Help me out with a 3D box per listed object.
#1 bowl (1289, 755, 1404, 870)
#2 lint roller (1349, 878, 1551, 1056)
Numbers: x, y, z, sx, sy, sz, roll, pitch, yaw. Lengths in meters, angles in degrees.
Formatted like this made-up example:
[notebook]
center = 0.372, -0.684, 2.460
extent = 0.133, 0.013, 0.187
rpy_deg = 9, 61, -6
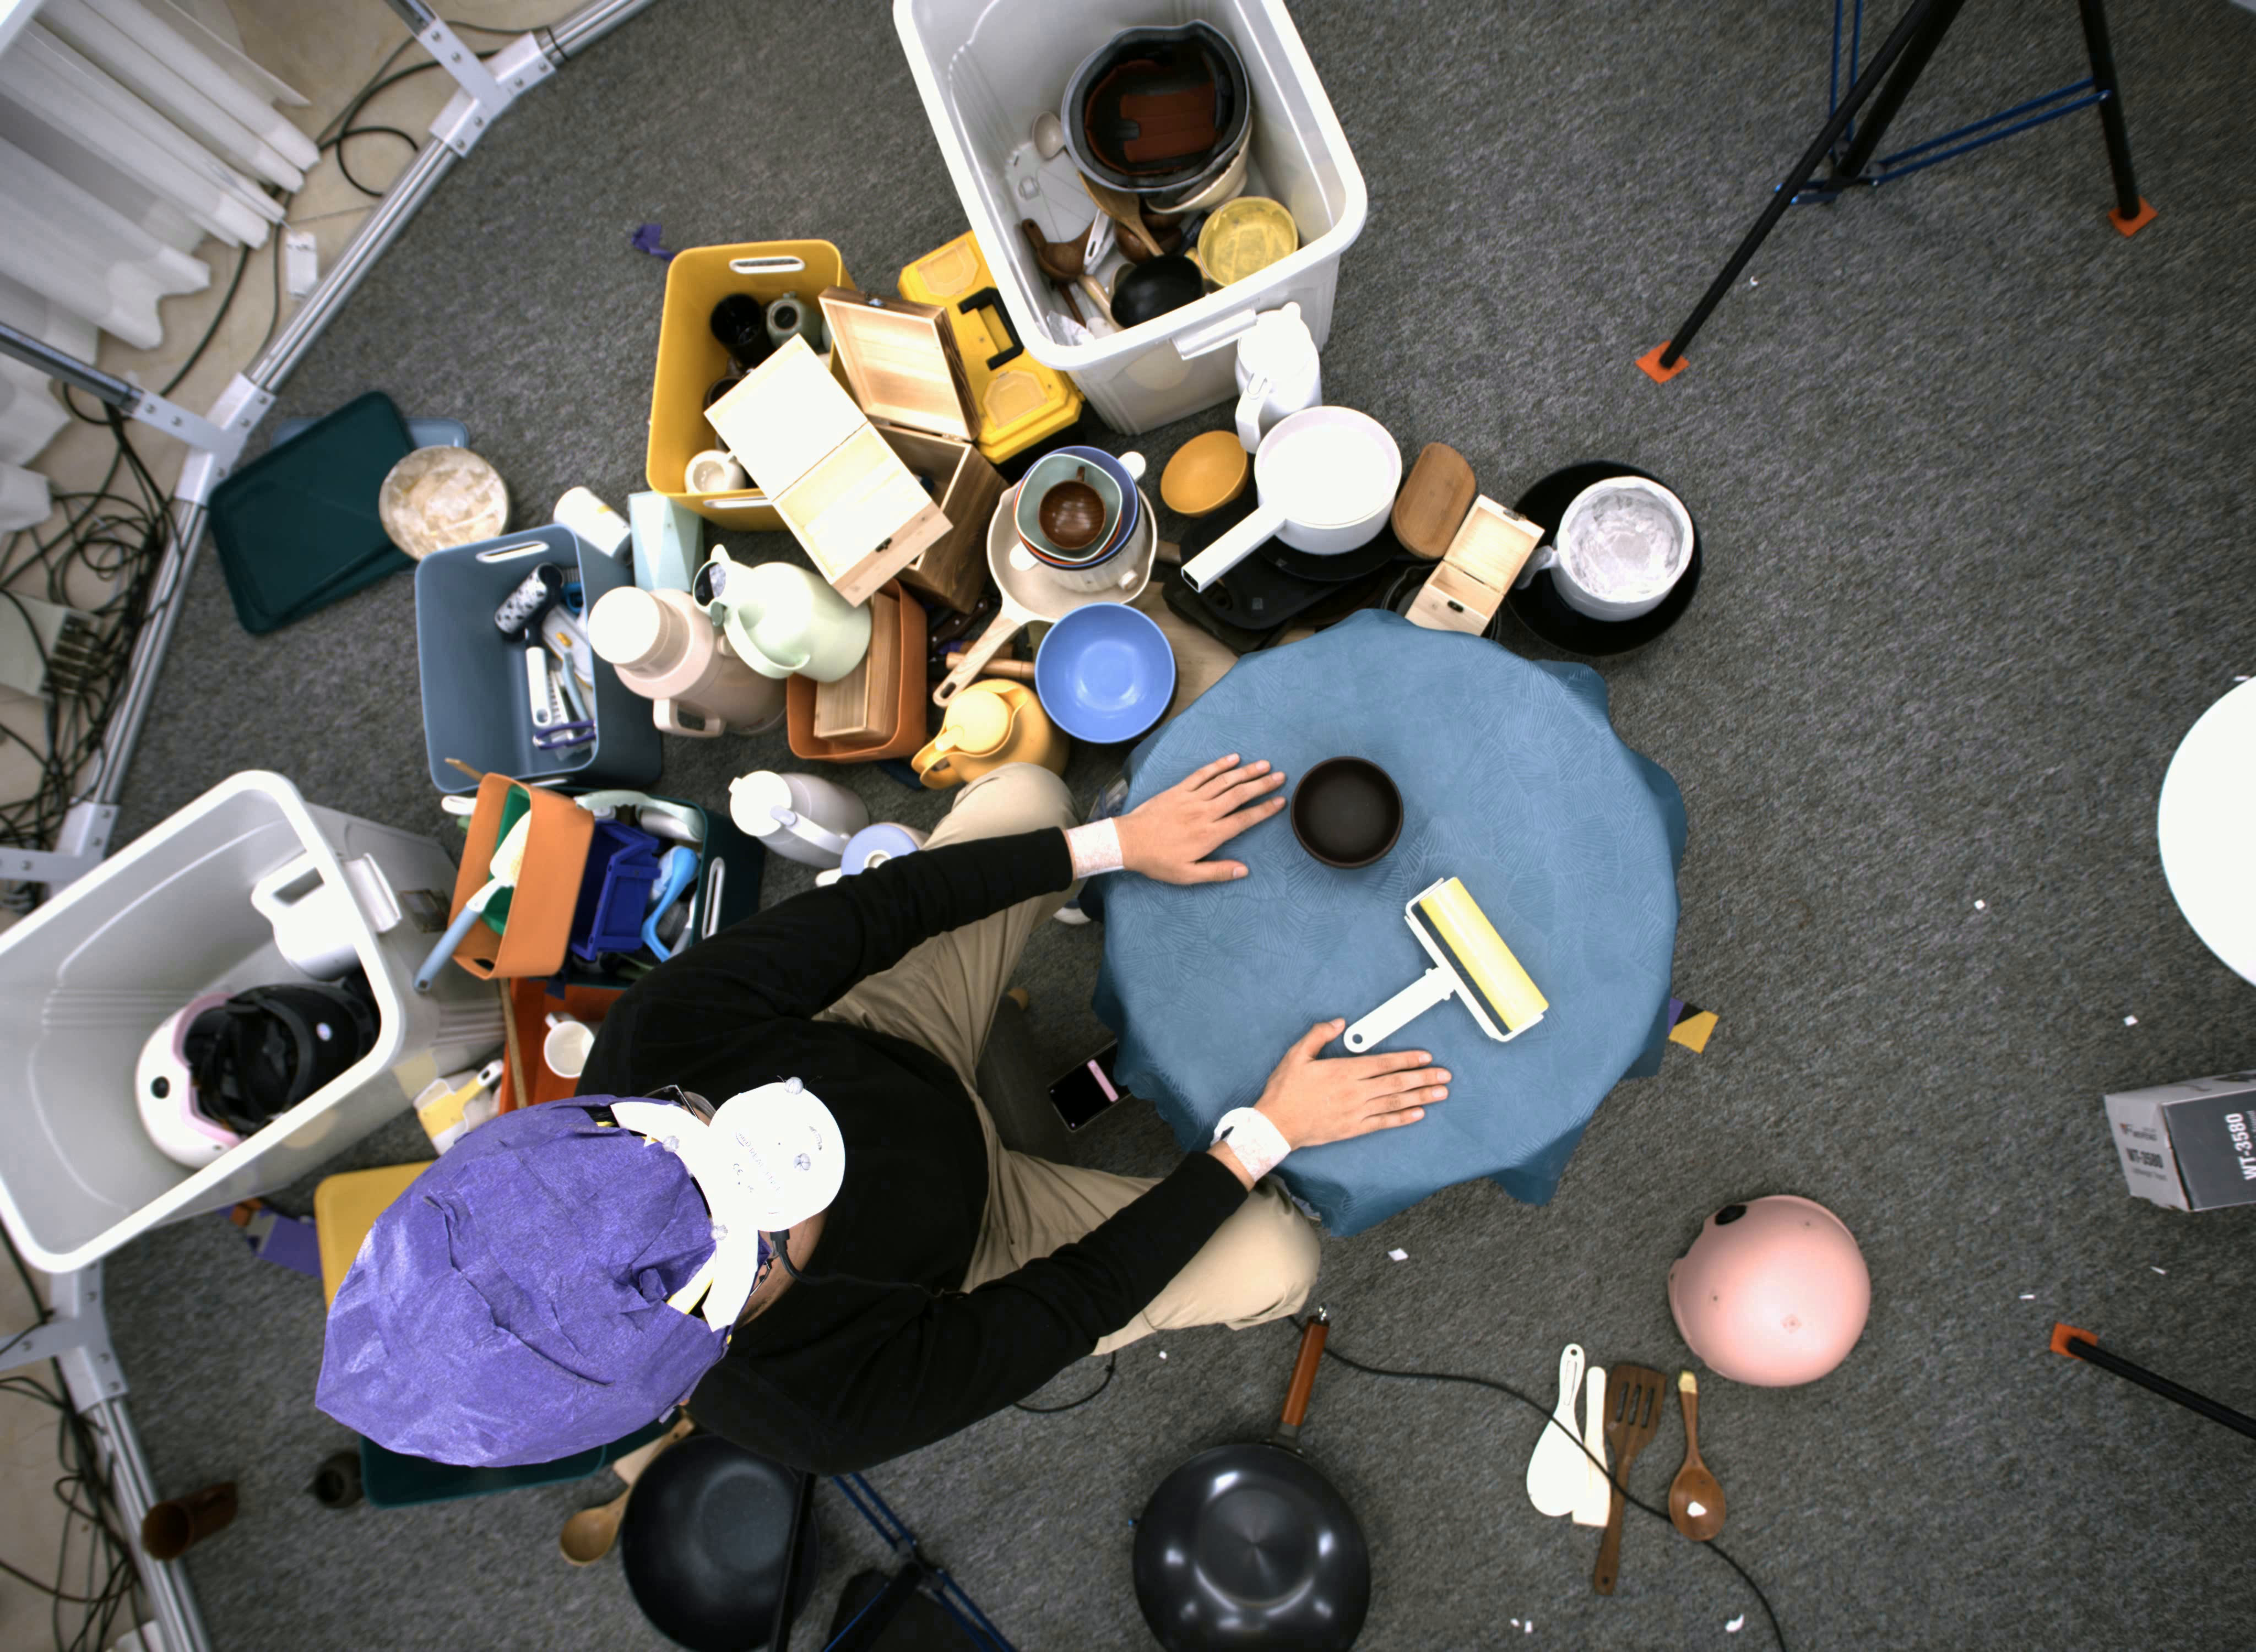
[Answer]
[bowl]
center = 0.227, -0.012, 1.435
extent = 0.118, 0.070, 0.117
rpy_deg = -1, 85, 10
[lint roller]
center = 0.309, 0.172, 1.421
extent = 0.192, 0.051, 0.173
rpy_deg = -37, 80, 2
